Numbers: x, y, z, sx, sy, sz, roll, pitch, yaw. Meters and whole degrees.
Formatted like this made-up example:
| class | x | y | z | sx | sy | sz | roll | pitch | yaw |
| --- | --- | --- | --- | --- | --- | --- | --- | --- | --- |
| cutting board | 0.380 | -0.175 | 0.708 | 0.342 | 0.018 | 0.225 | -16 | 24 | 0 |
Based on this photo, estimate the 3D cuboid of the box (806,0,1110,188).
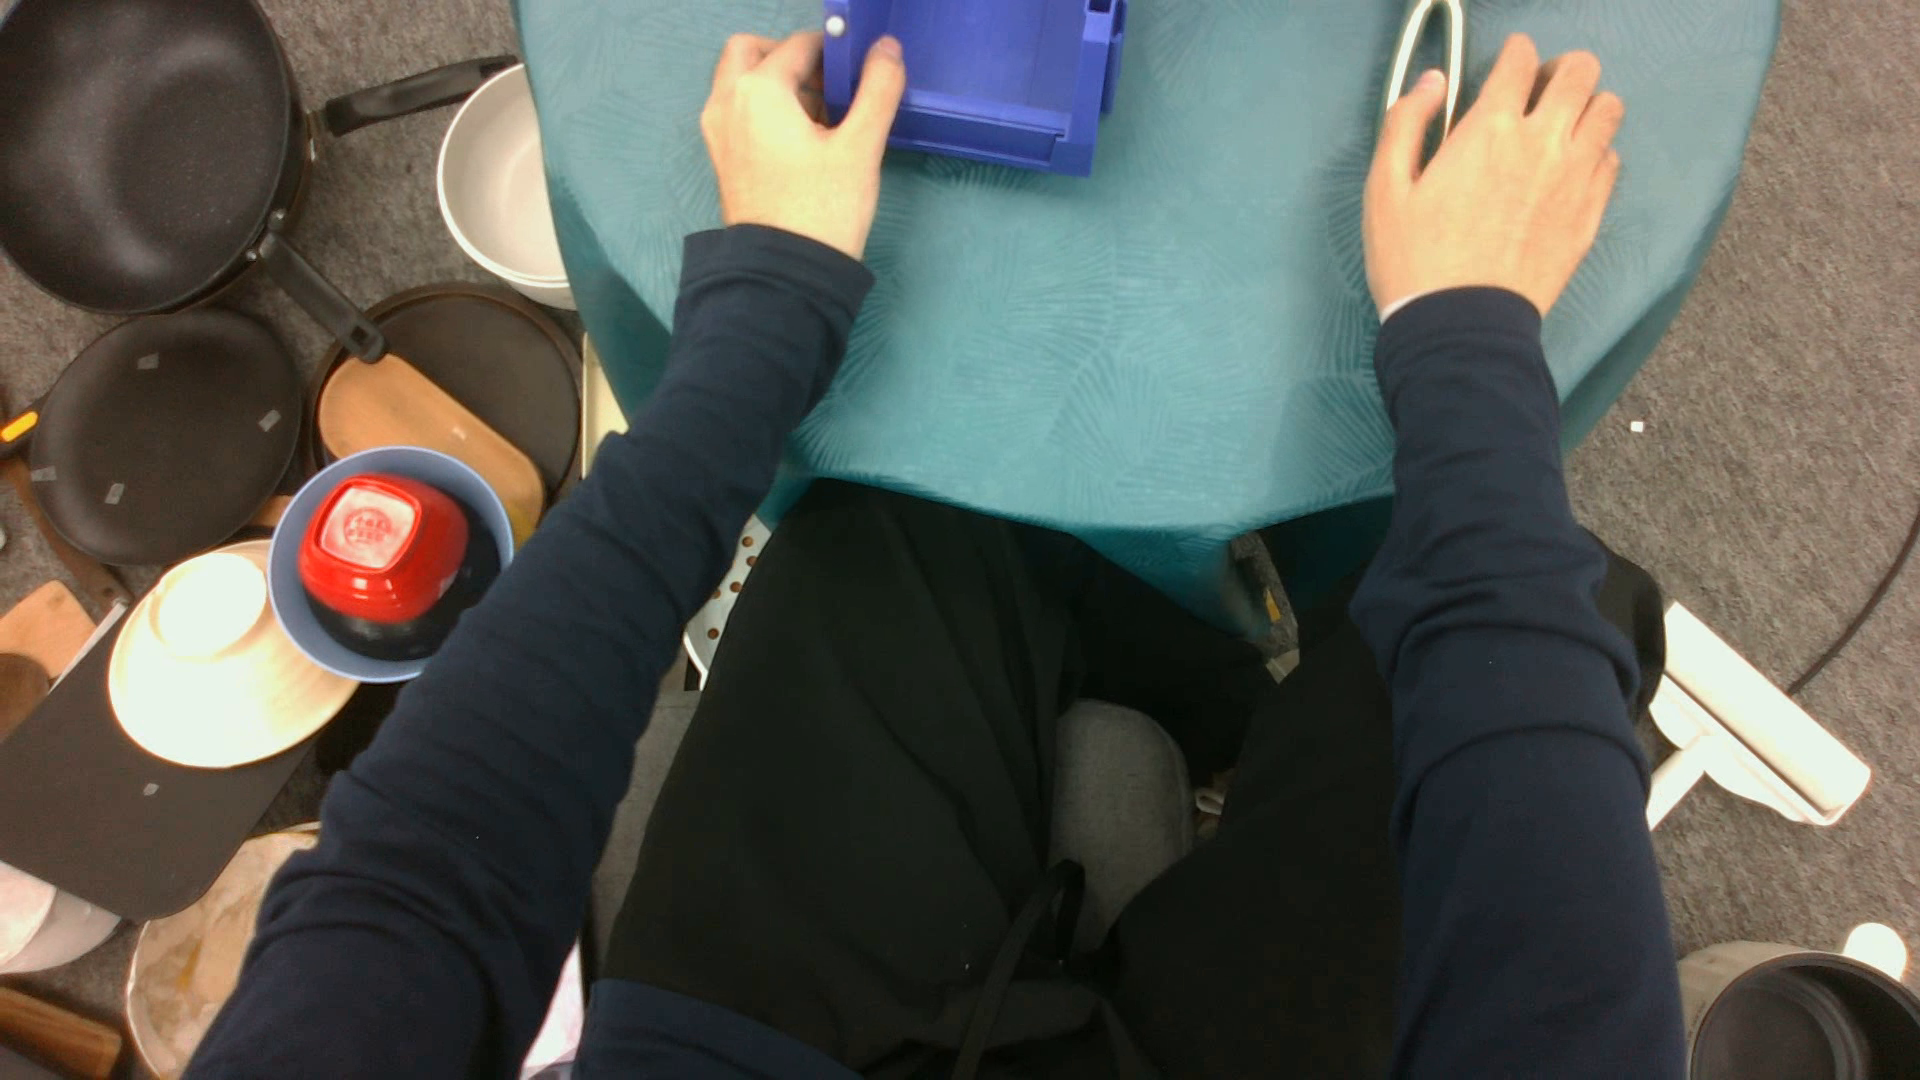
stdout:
| class | x | y | z | sx | sy | sz | roll | pitch | yaw |
| --- | --- | --- | --- | --- | --- | --- | --- | --- | --- |
| box | 0.011 | -0.258 | 0.613 | 0.124 | 0.082 | 0.180 | 12 | 79 | 3 |

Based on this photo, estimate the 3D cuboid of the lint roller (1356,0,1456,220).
| class | x | y | z | sx | sy | sz | roll | pitch | yaw |
| --- | --- | --- | --- | --- | --- | --- | --- | --- | --- |
| lint roller | 0.210 | -0.239 | 0.624 | 0.134 | 0.048 | 0.180 | 10 | 84 | 4 |
